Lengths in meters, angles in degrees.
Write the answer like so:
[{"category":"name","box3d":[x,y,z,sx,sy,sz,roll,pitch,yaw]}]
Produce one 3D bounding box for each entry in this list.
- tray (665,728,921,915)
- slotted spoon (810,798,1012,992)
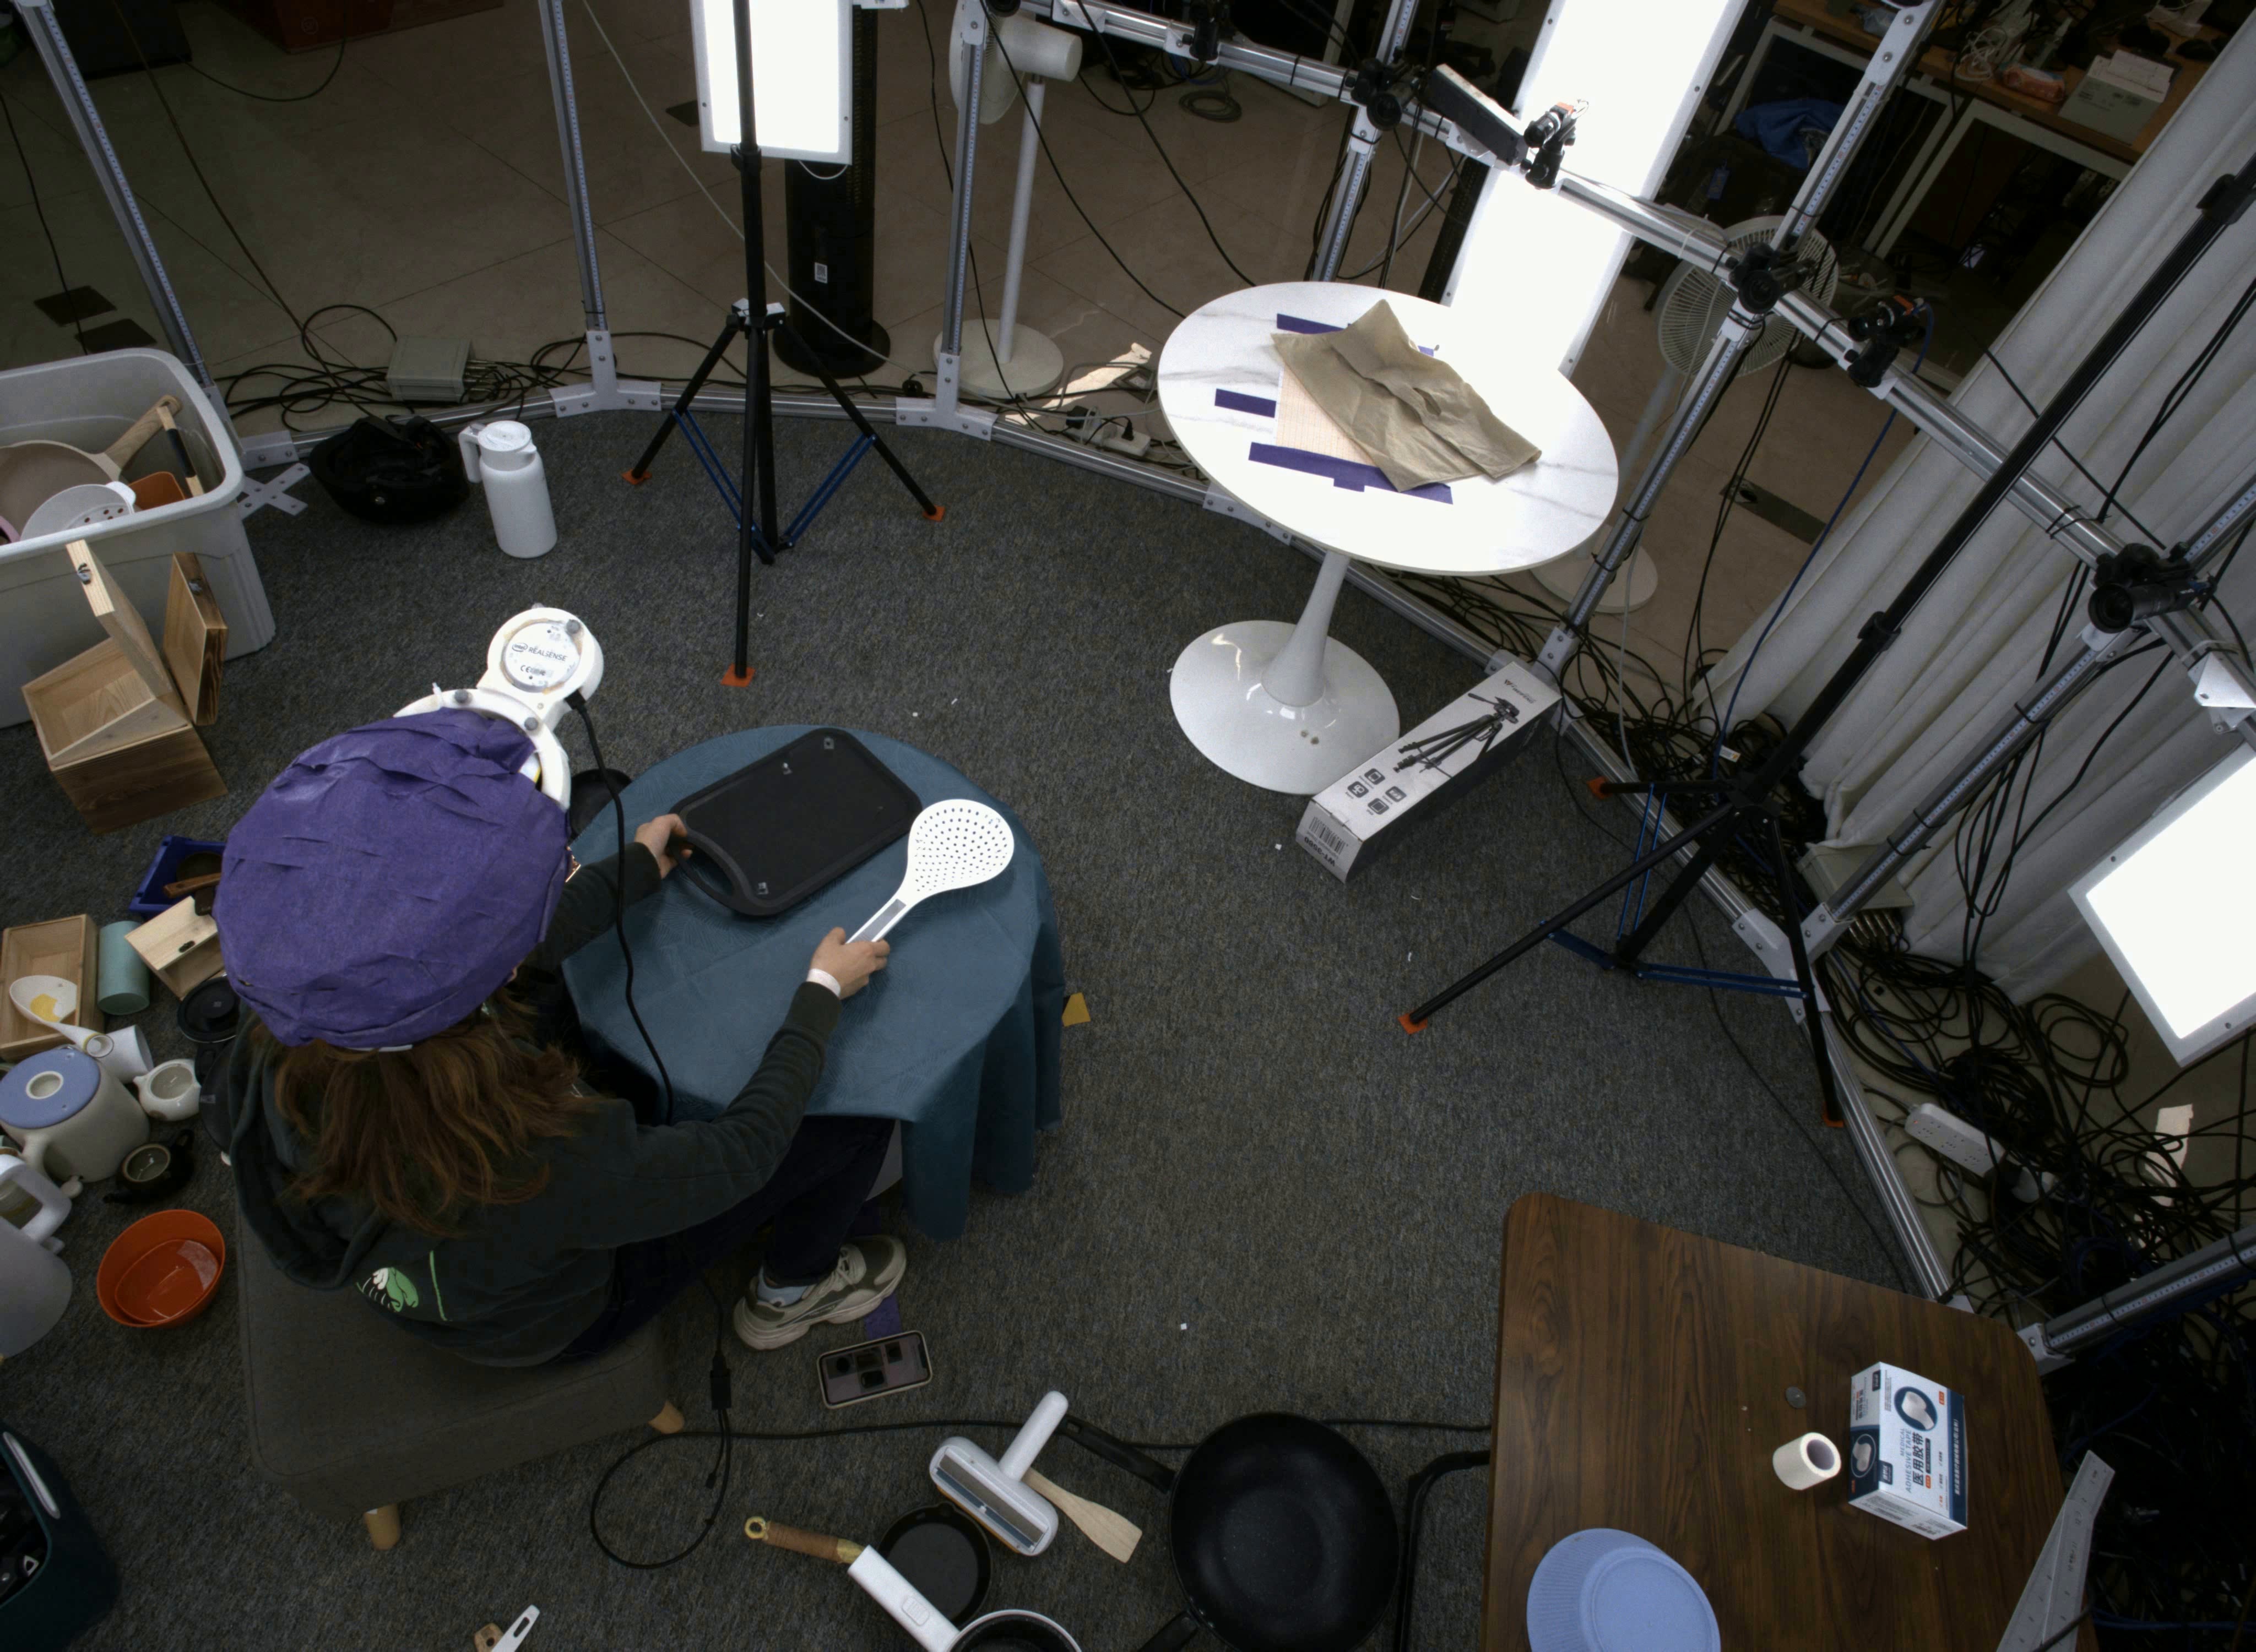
[{"category":"tray","box3d":[-0.443,-0.011,1.708,0.207,0.010,0.326,42,51,14]},{"category":"slotted spoon","box3d":[-0.280,0.085,1.660,0.133,0.046,0.349,33,48,12]}]
